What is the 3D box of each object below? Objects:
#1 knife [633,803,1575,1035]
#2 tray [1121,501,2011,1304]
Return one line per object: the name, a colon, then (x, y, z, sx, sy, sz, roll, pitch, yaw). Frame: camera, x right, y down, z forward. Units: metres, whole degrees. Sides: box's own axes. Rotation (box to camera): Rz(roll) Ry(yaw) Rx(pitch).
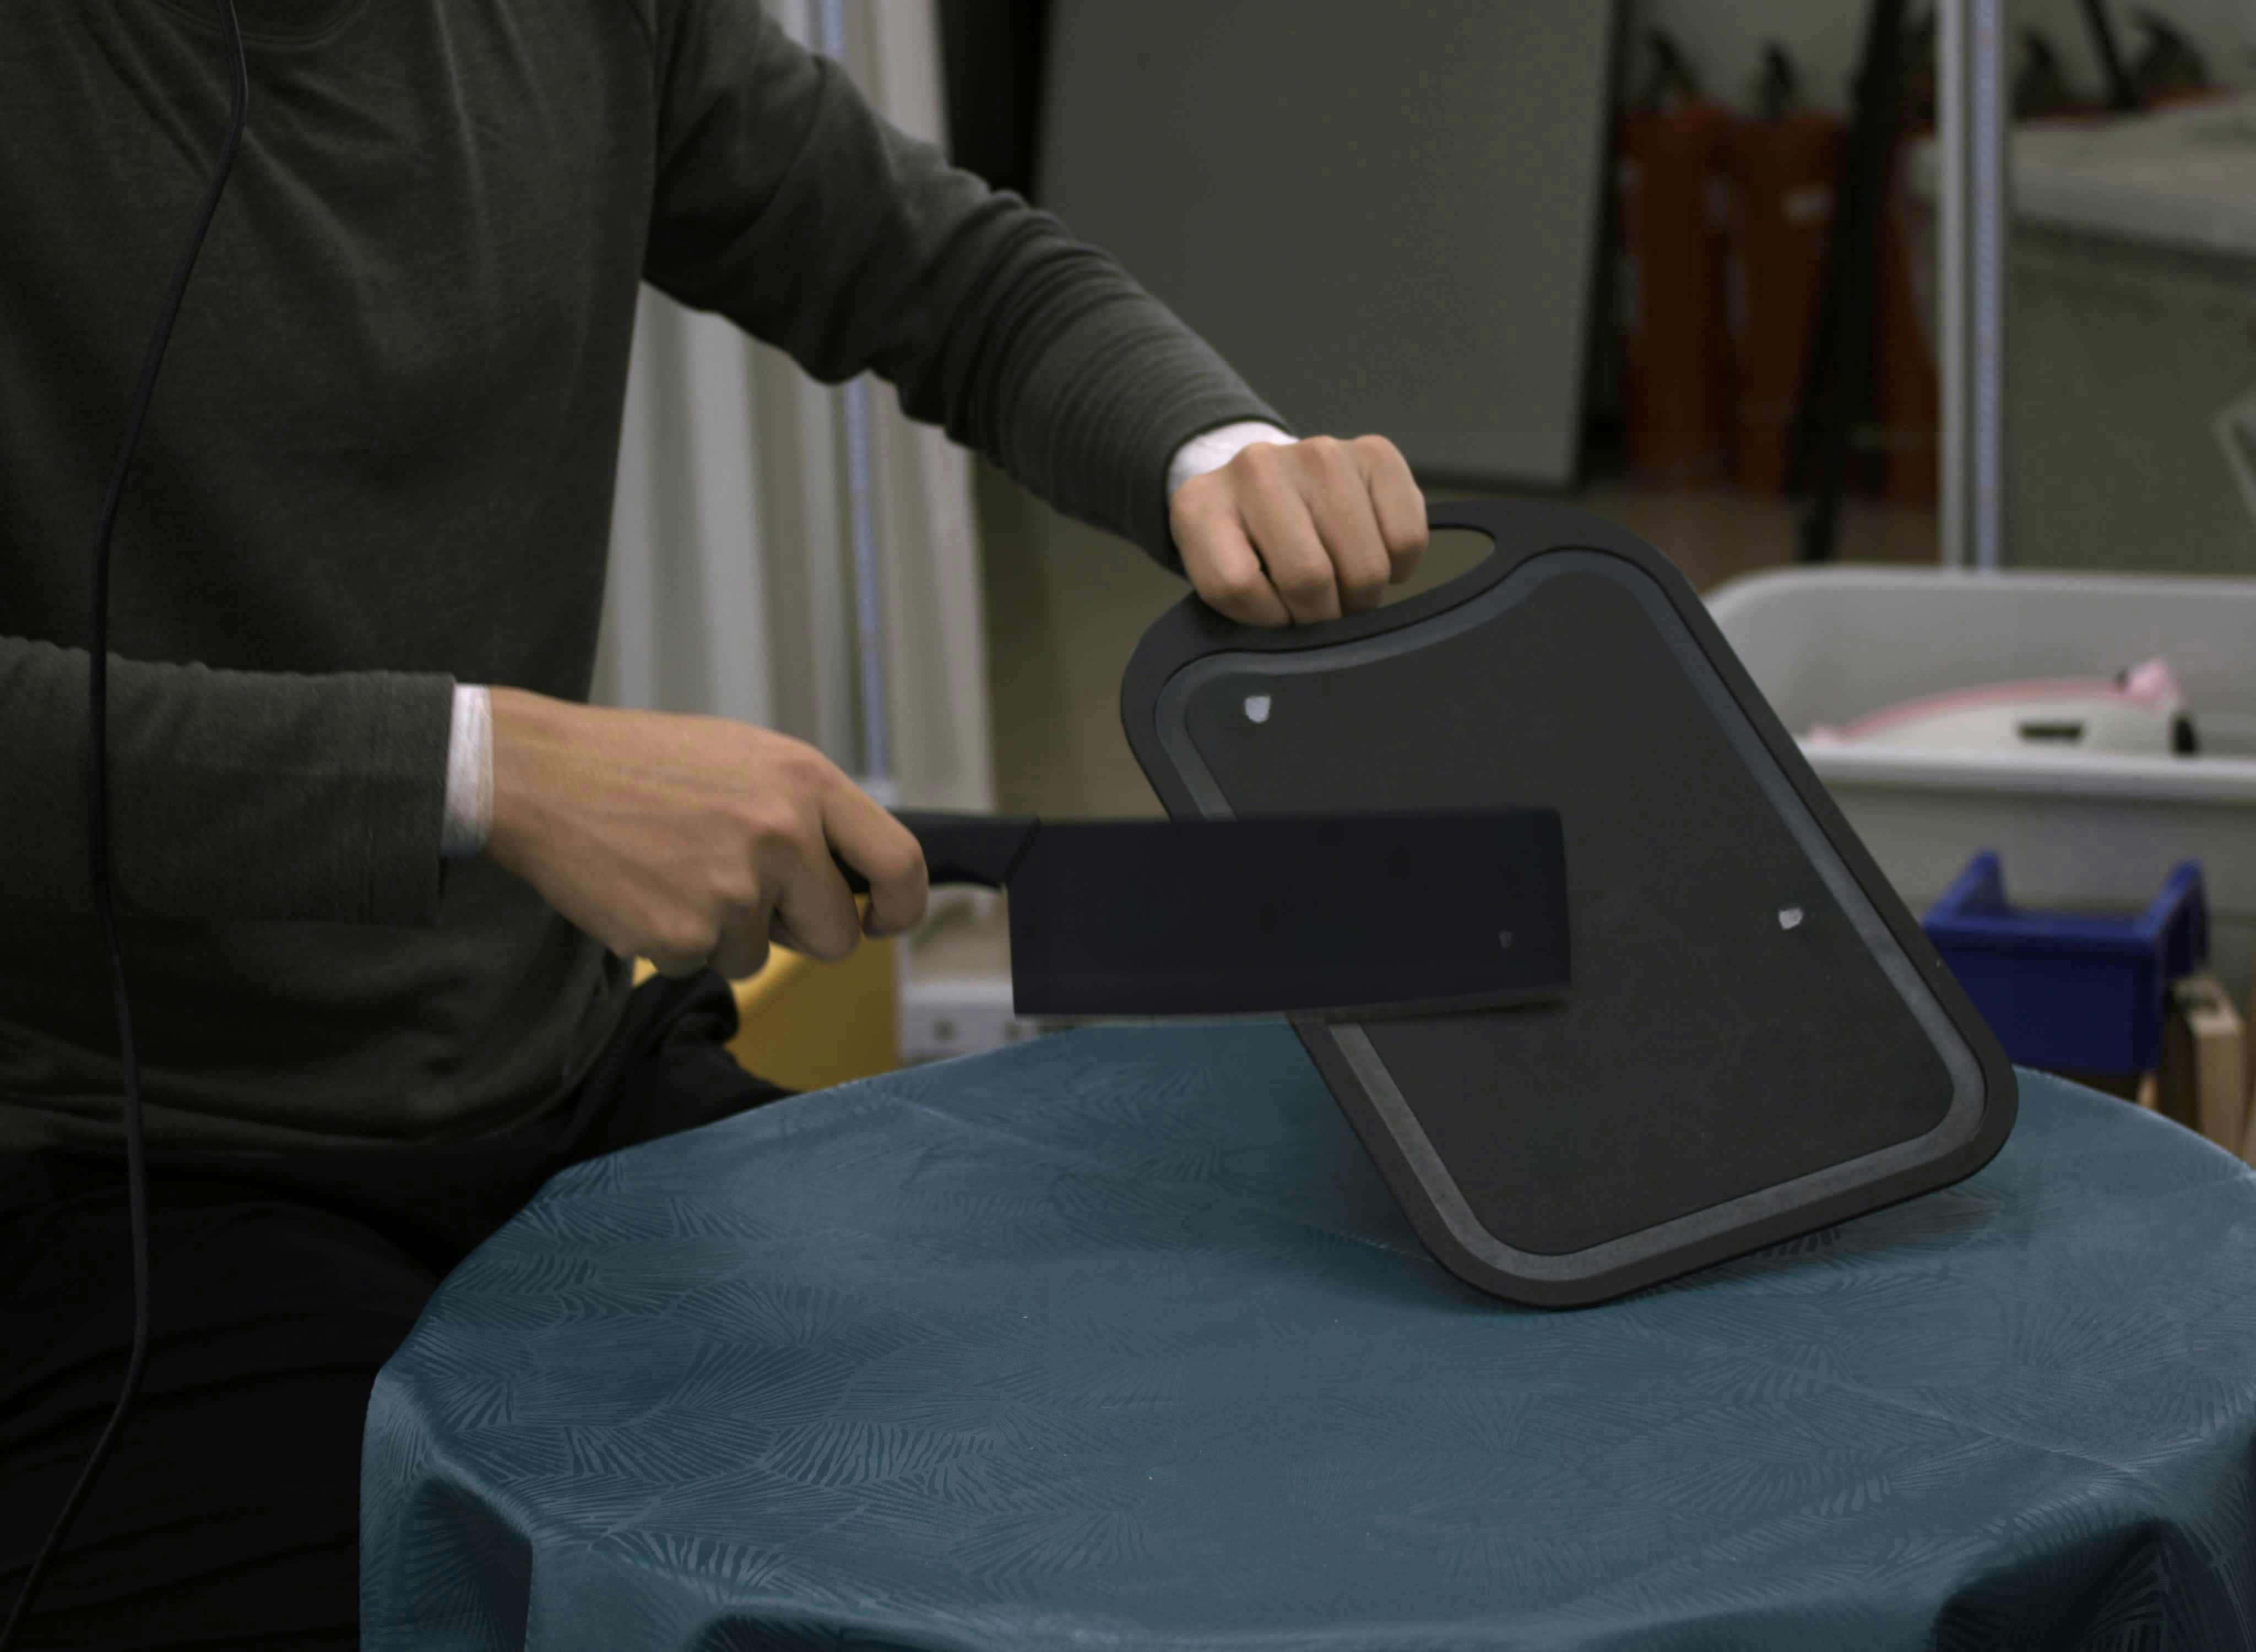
knife: (-0.006, 0.028, 1.705, 0.298, 0.082, 0.021, 3, -18, -1)
tray: (0.134, 0.012, 1.744, 0.207, 0.010, 0.330, -17, 52, -17)
